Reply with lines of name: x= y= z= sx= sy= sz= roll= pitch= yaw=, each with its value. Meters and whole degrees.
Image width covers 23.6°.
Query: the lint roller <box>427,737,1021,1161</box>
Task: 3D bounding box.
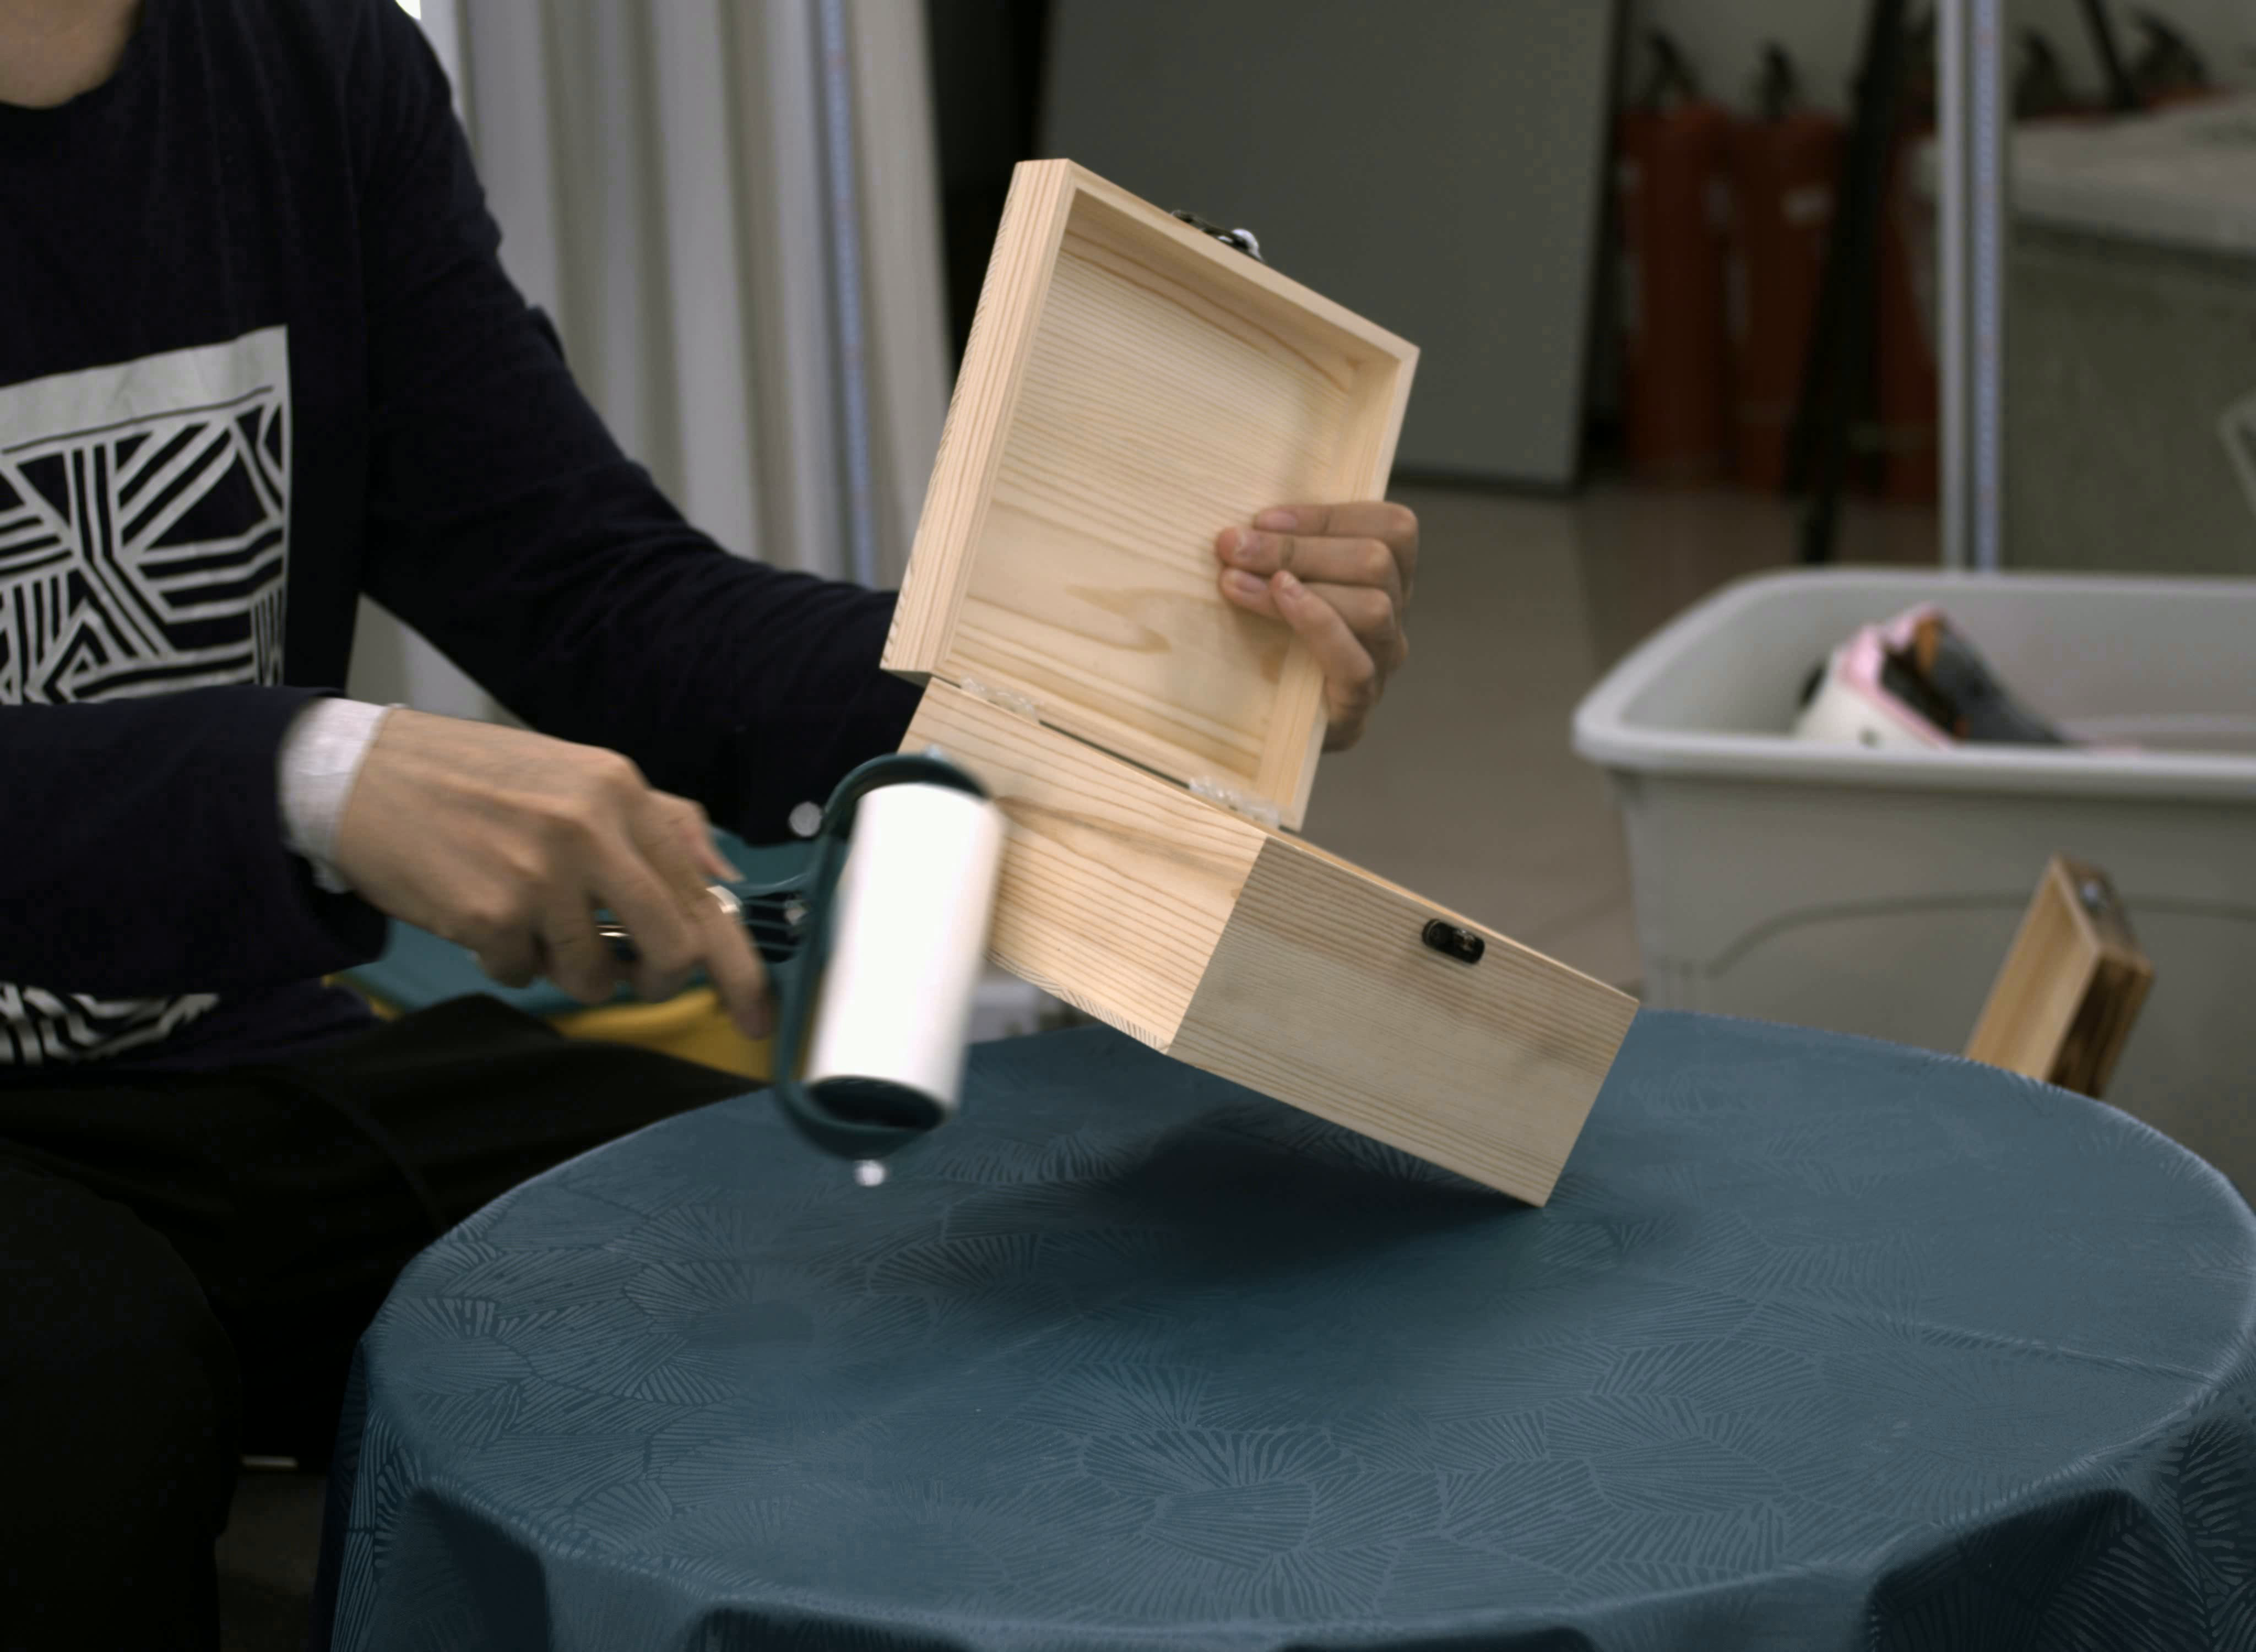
lint roller: x=-0.127 y=0.025 z=1.666 sx=0.177 sy=0.136 sz=0.048 roll=10 pitch=-22 yaw=-4

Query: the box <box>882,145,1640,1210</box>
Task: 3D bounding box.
box: x=0.051 y=-0.053 z=1.766 sx=0.178 sy=0.255 sz=0.268 roll=22 pitch=2 yaw=-40
